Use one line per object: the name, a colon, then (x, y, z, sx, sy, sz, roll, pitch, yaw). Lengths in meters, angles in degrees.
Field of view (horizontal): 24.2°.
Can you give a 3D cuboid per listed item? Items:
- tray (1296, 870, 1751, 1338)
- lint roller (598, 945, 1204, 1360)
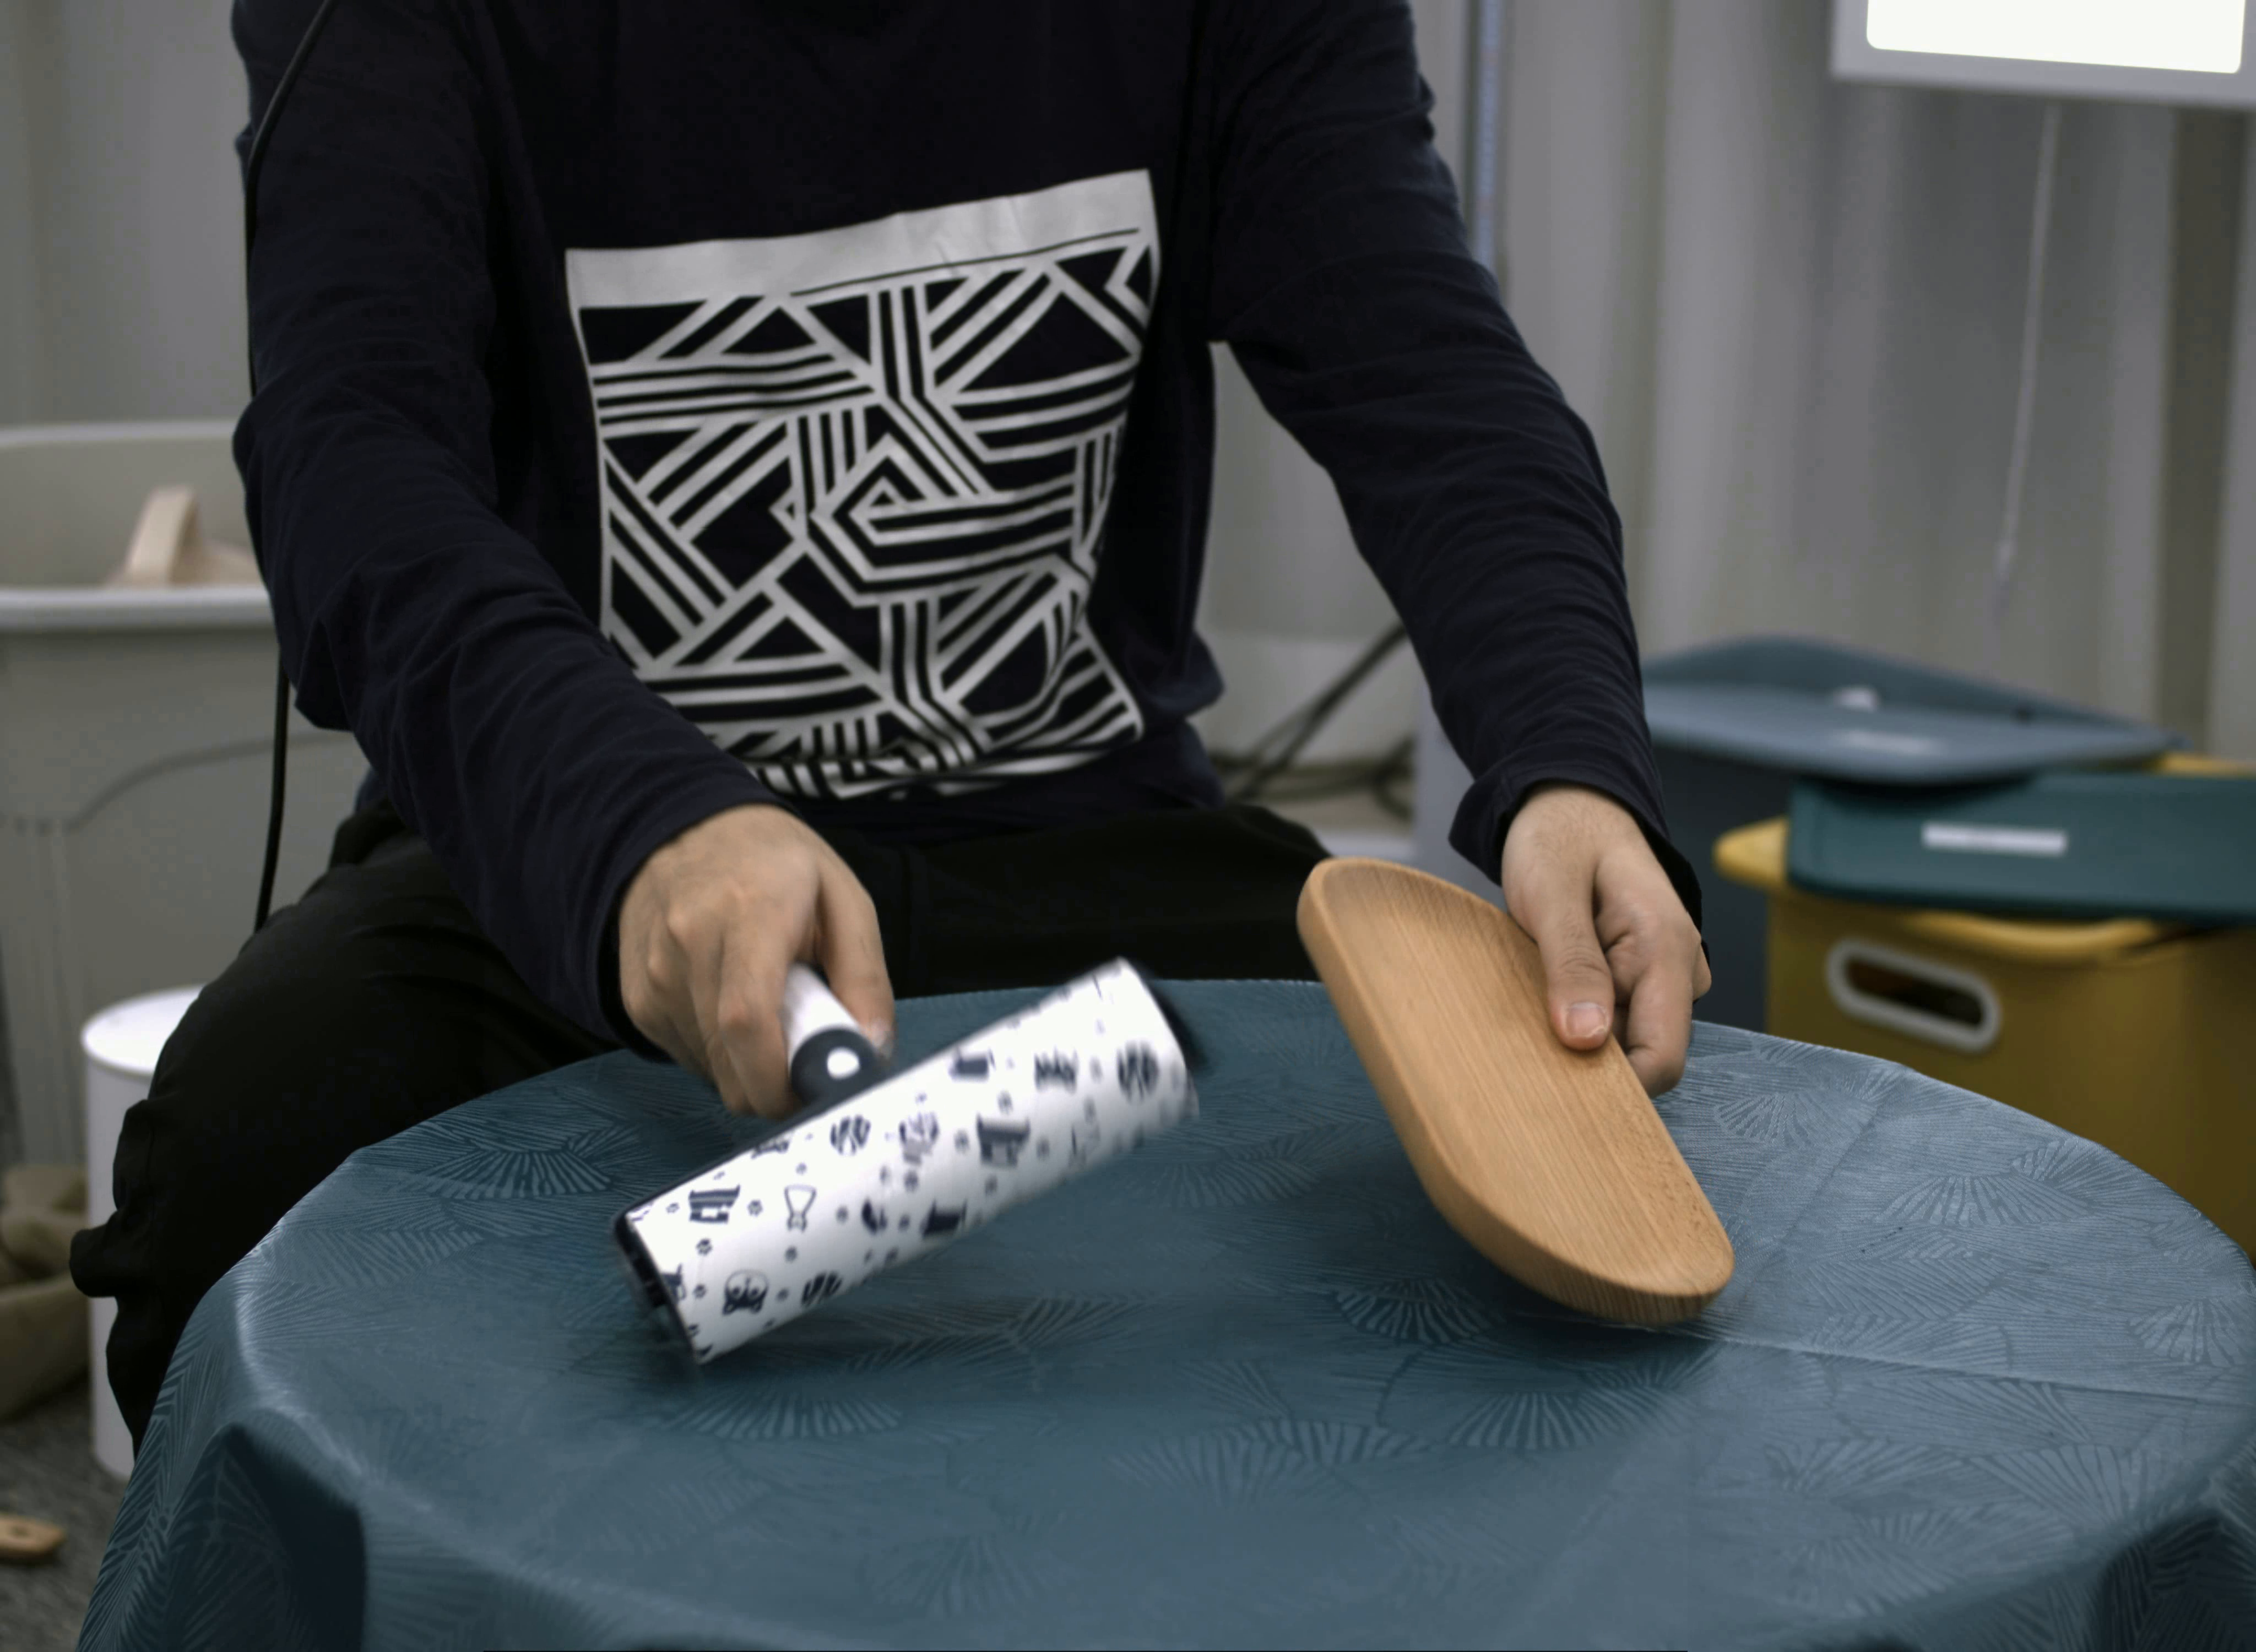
tray: (0.115, 0.080, 1.574, 0.102, 0.020, 0.228, 14, 27, -25)
lint roller: (-0.092, 0.071, 1.576, 0.176, 0.051, 0.244, -25, 21, -11)
